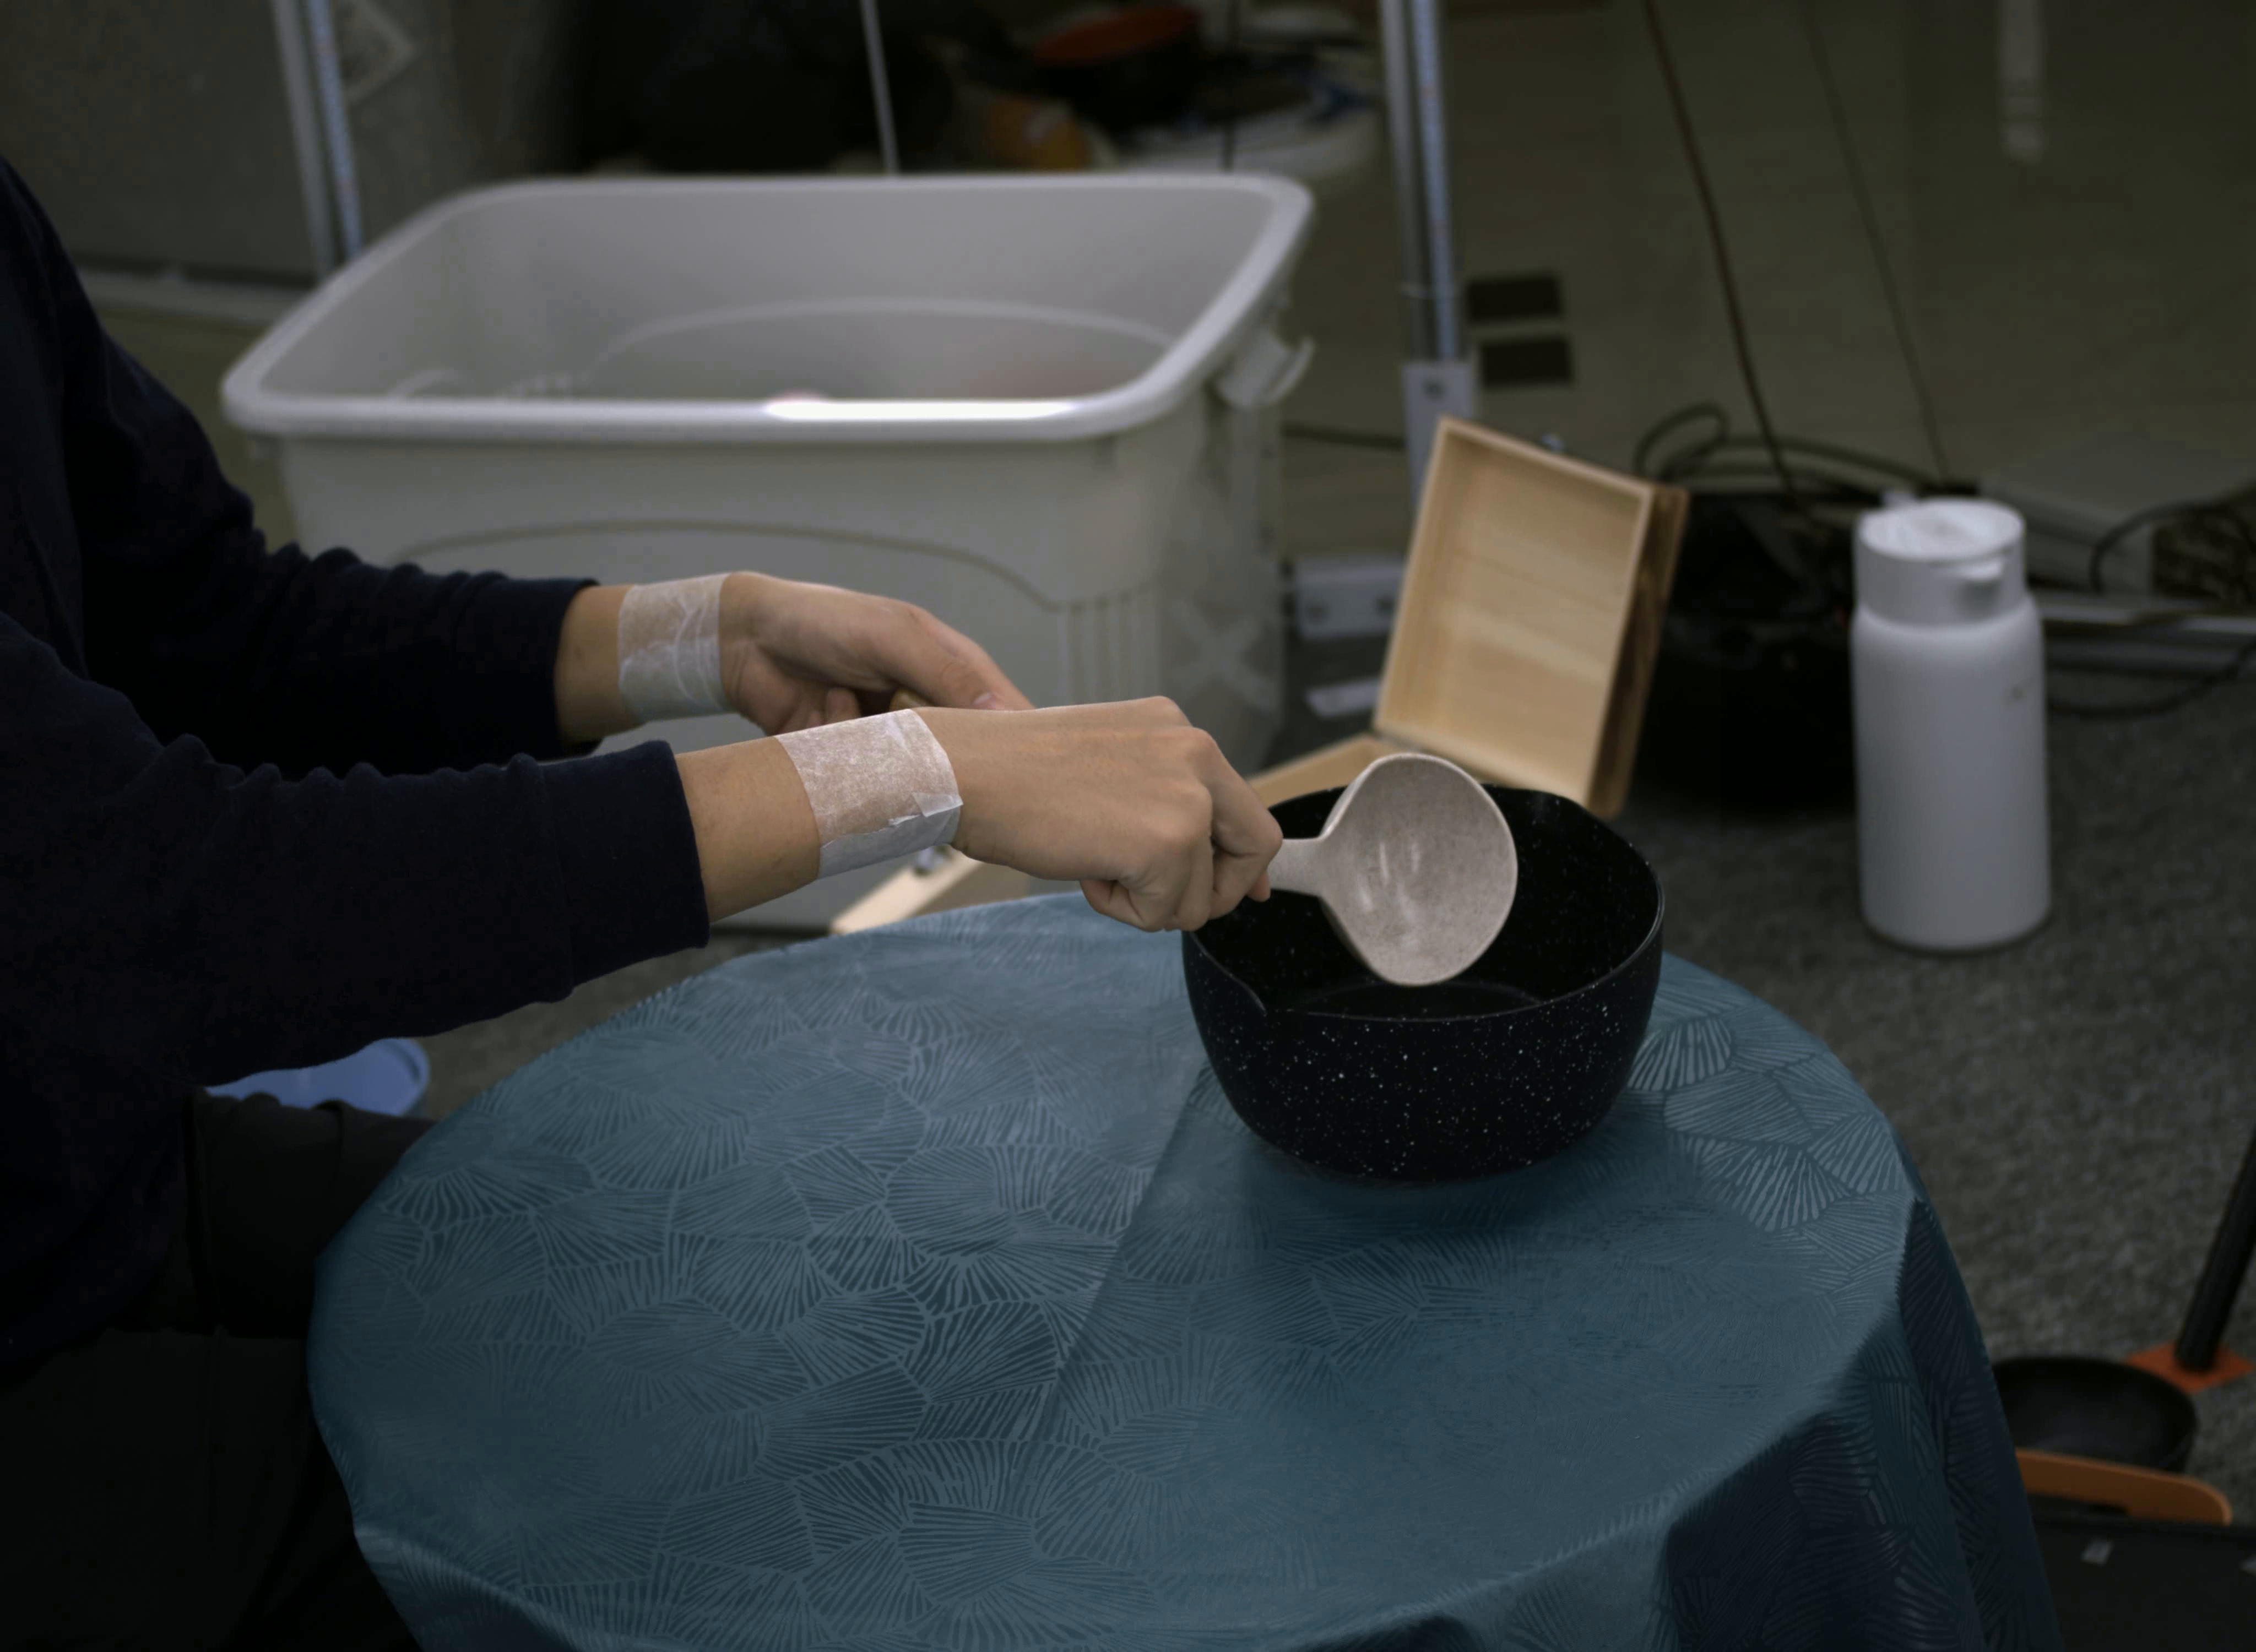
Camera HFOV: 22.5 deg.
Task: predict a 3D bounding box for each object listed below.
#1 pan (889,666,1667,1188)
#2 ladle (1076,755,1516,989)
[{"bbox_3d":[0.047,0.032,2.199,0.340,0.110,0.205,19,37,29],"label":"pan"},{"bbox_3d":[0.066,0.013,2.060,0.069,0.089,0.275,4,-1,23],"label":"ladle"}]
